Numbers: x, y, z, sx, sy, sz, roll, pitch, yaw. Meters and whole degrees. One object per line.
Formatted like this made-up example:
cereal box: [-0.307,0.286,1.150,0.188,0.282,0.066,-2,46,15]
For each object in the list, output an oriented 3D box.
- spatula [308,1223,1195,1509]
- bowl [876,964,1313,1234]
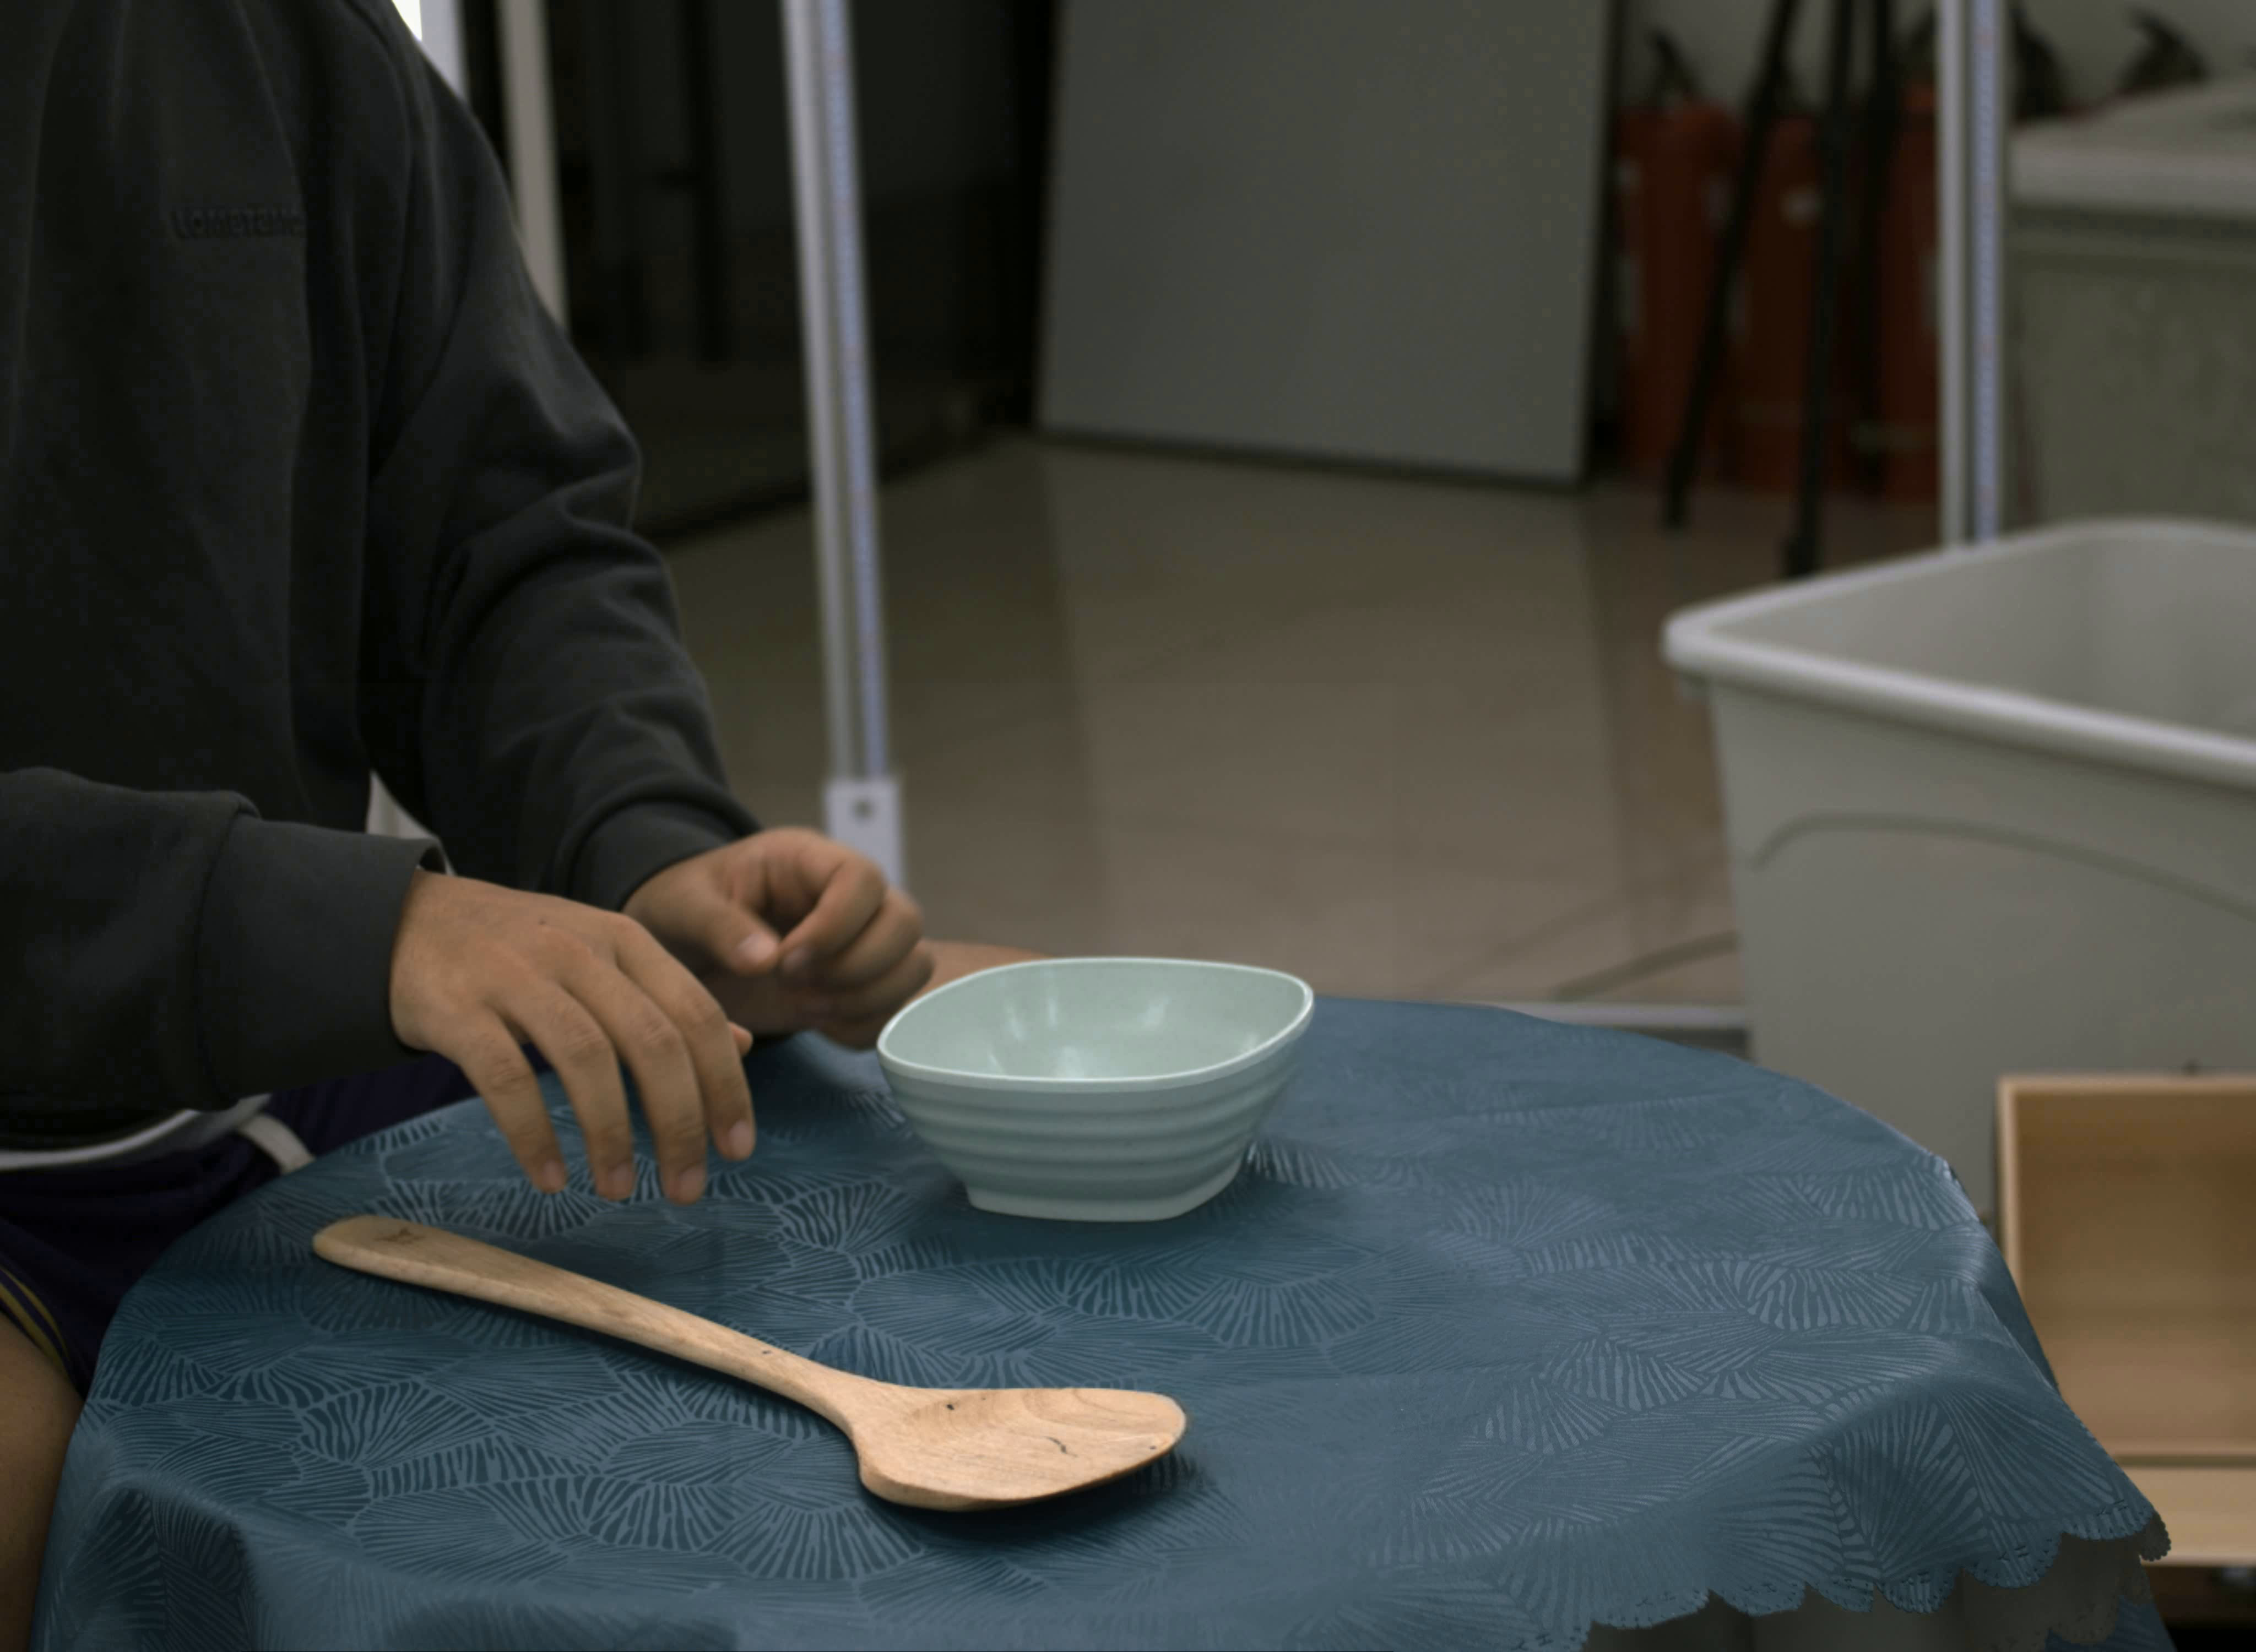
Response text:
spatula: [-0.134,0.157,1.623,0.094,0.018,0.394,-13,16,-41]
bowl: [-0.010,0.092,1.775,0.149,0.059,0.152,-2,14,0]
